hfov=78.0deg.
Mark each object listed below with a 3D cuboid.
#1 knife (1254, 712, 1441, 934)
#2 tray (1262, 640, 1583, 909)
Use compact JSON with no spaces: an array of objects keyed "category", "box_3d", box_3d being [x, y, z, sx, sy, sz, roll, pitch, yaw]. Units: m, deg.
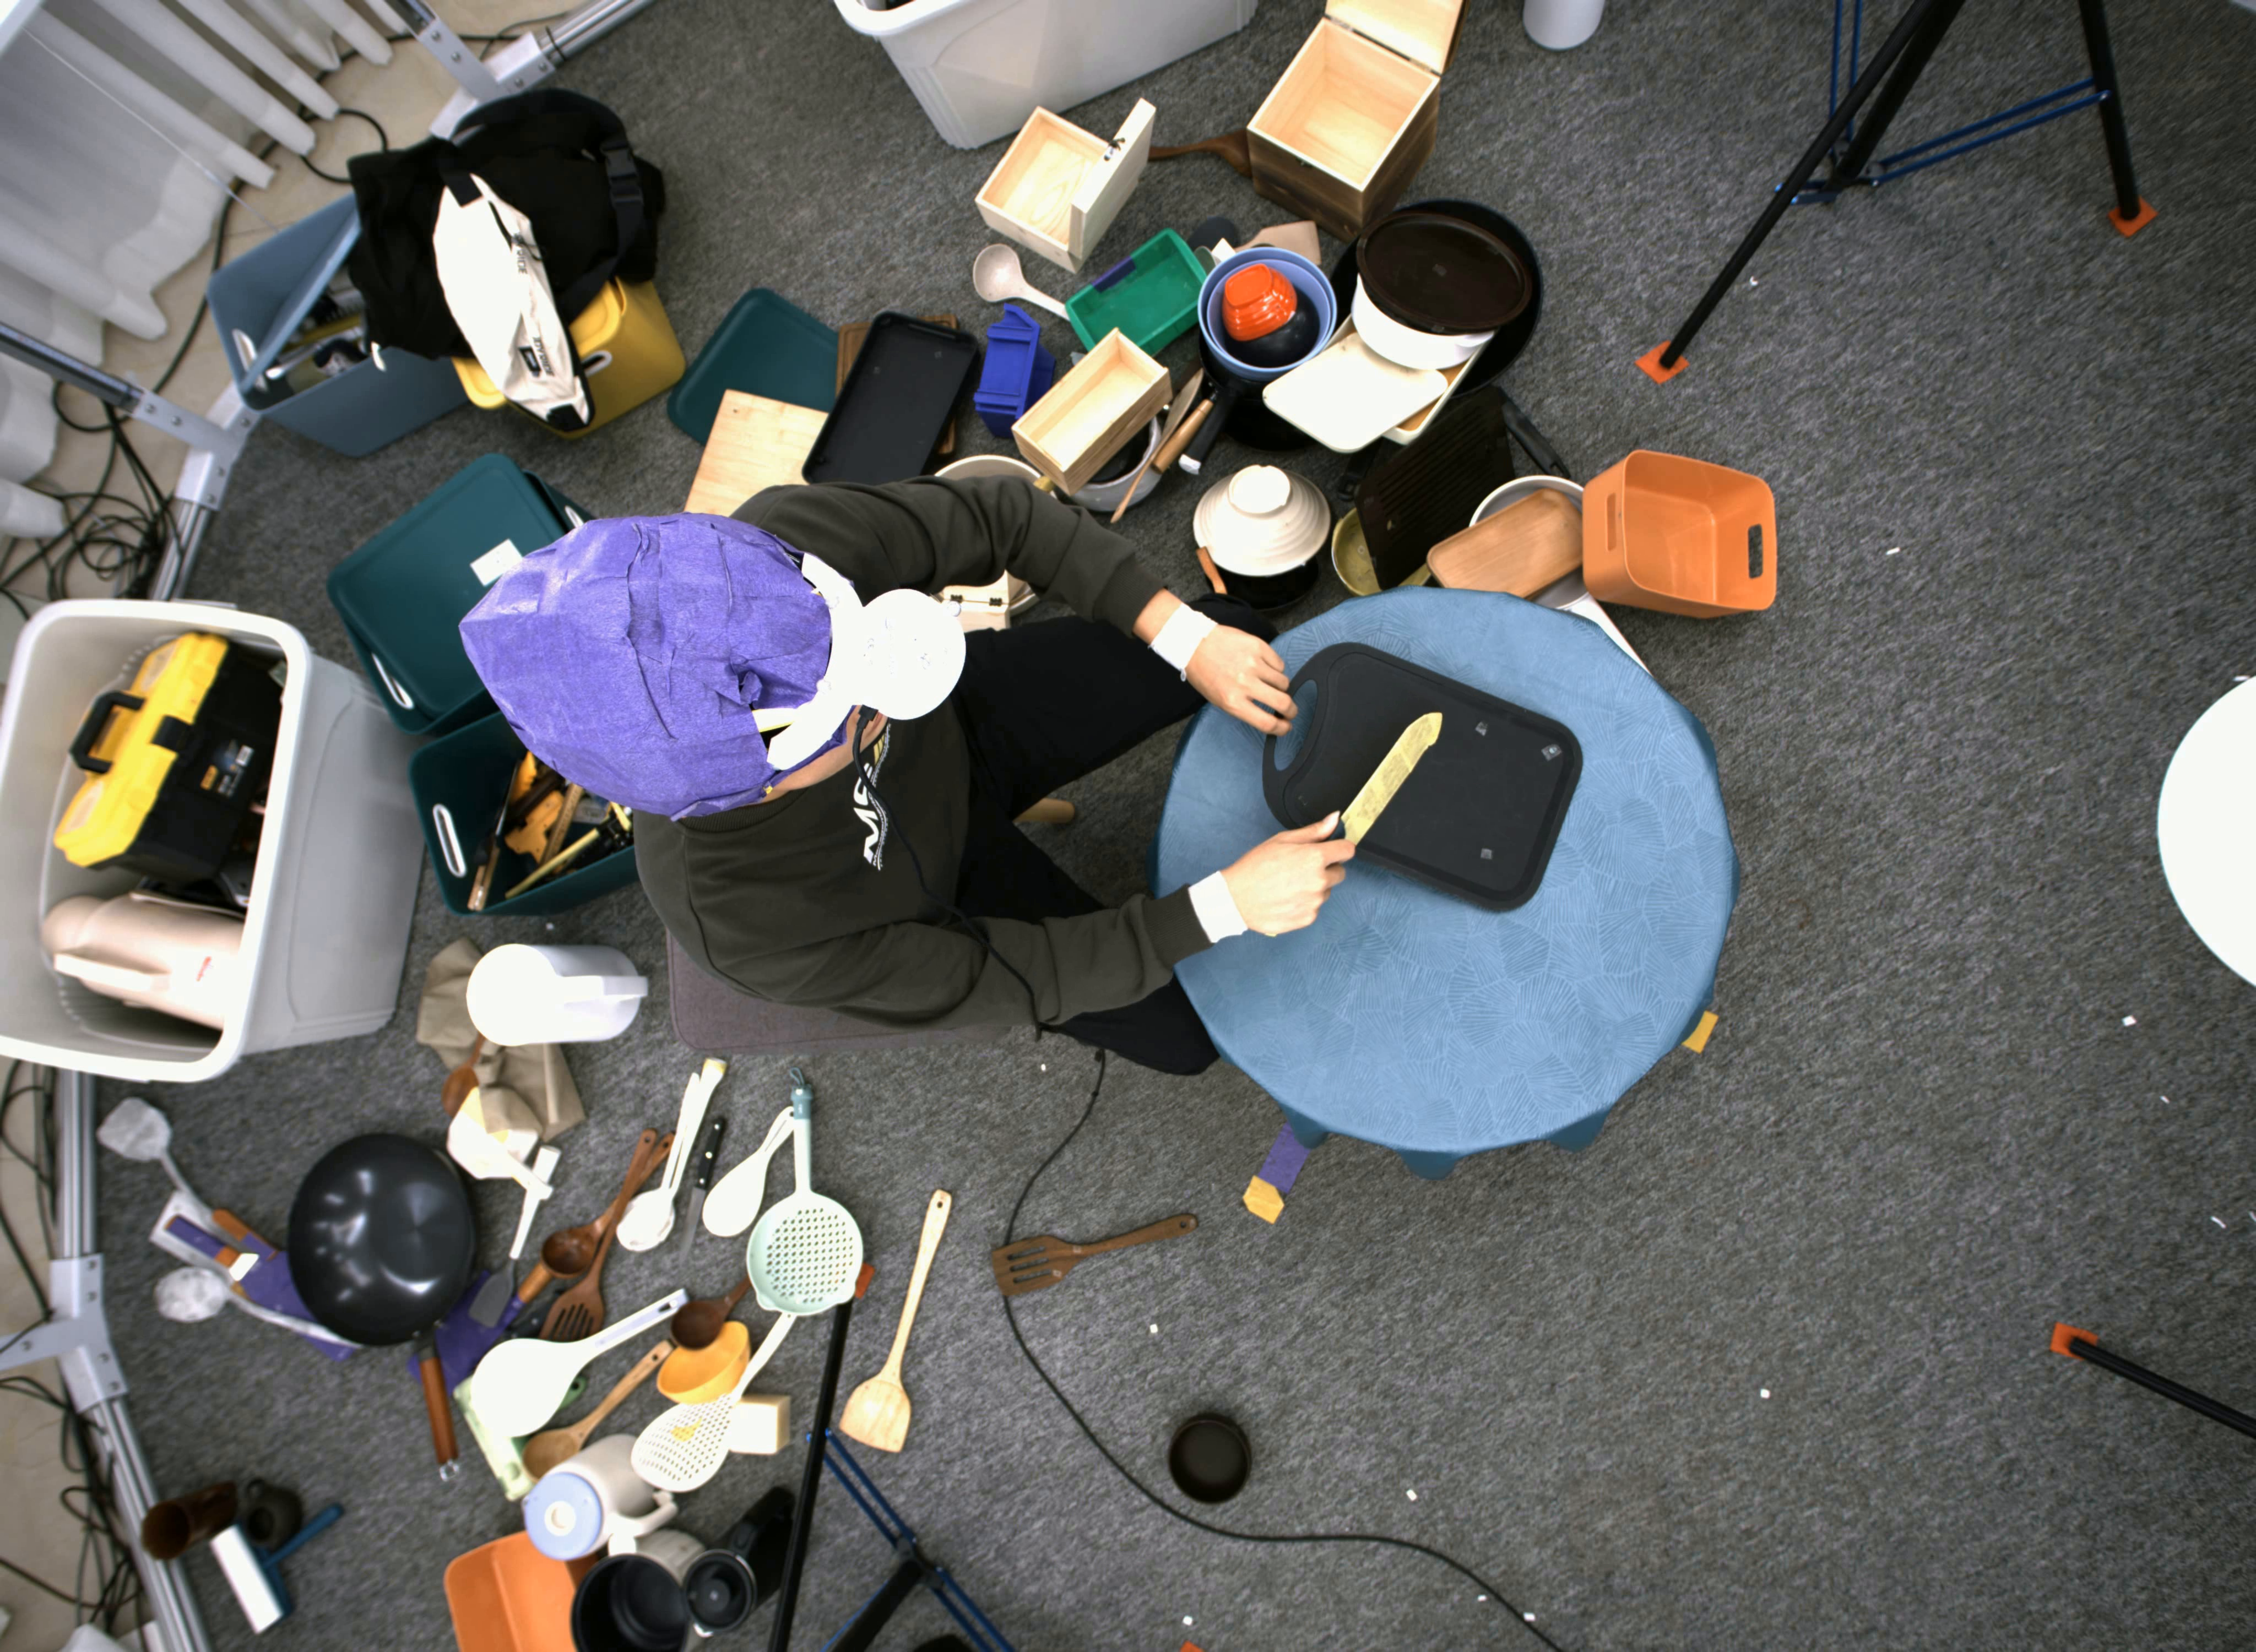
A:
[{"category":"knife","box_3d":[0.225,-0.005,1.383,0.027,0.082,0.289,39,88,33]},{"category":"tray","box_3d":[0.299,-0.057,1.417,0.326,0.010,0.211,21,91,-3]}]
